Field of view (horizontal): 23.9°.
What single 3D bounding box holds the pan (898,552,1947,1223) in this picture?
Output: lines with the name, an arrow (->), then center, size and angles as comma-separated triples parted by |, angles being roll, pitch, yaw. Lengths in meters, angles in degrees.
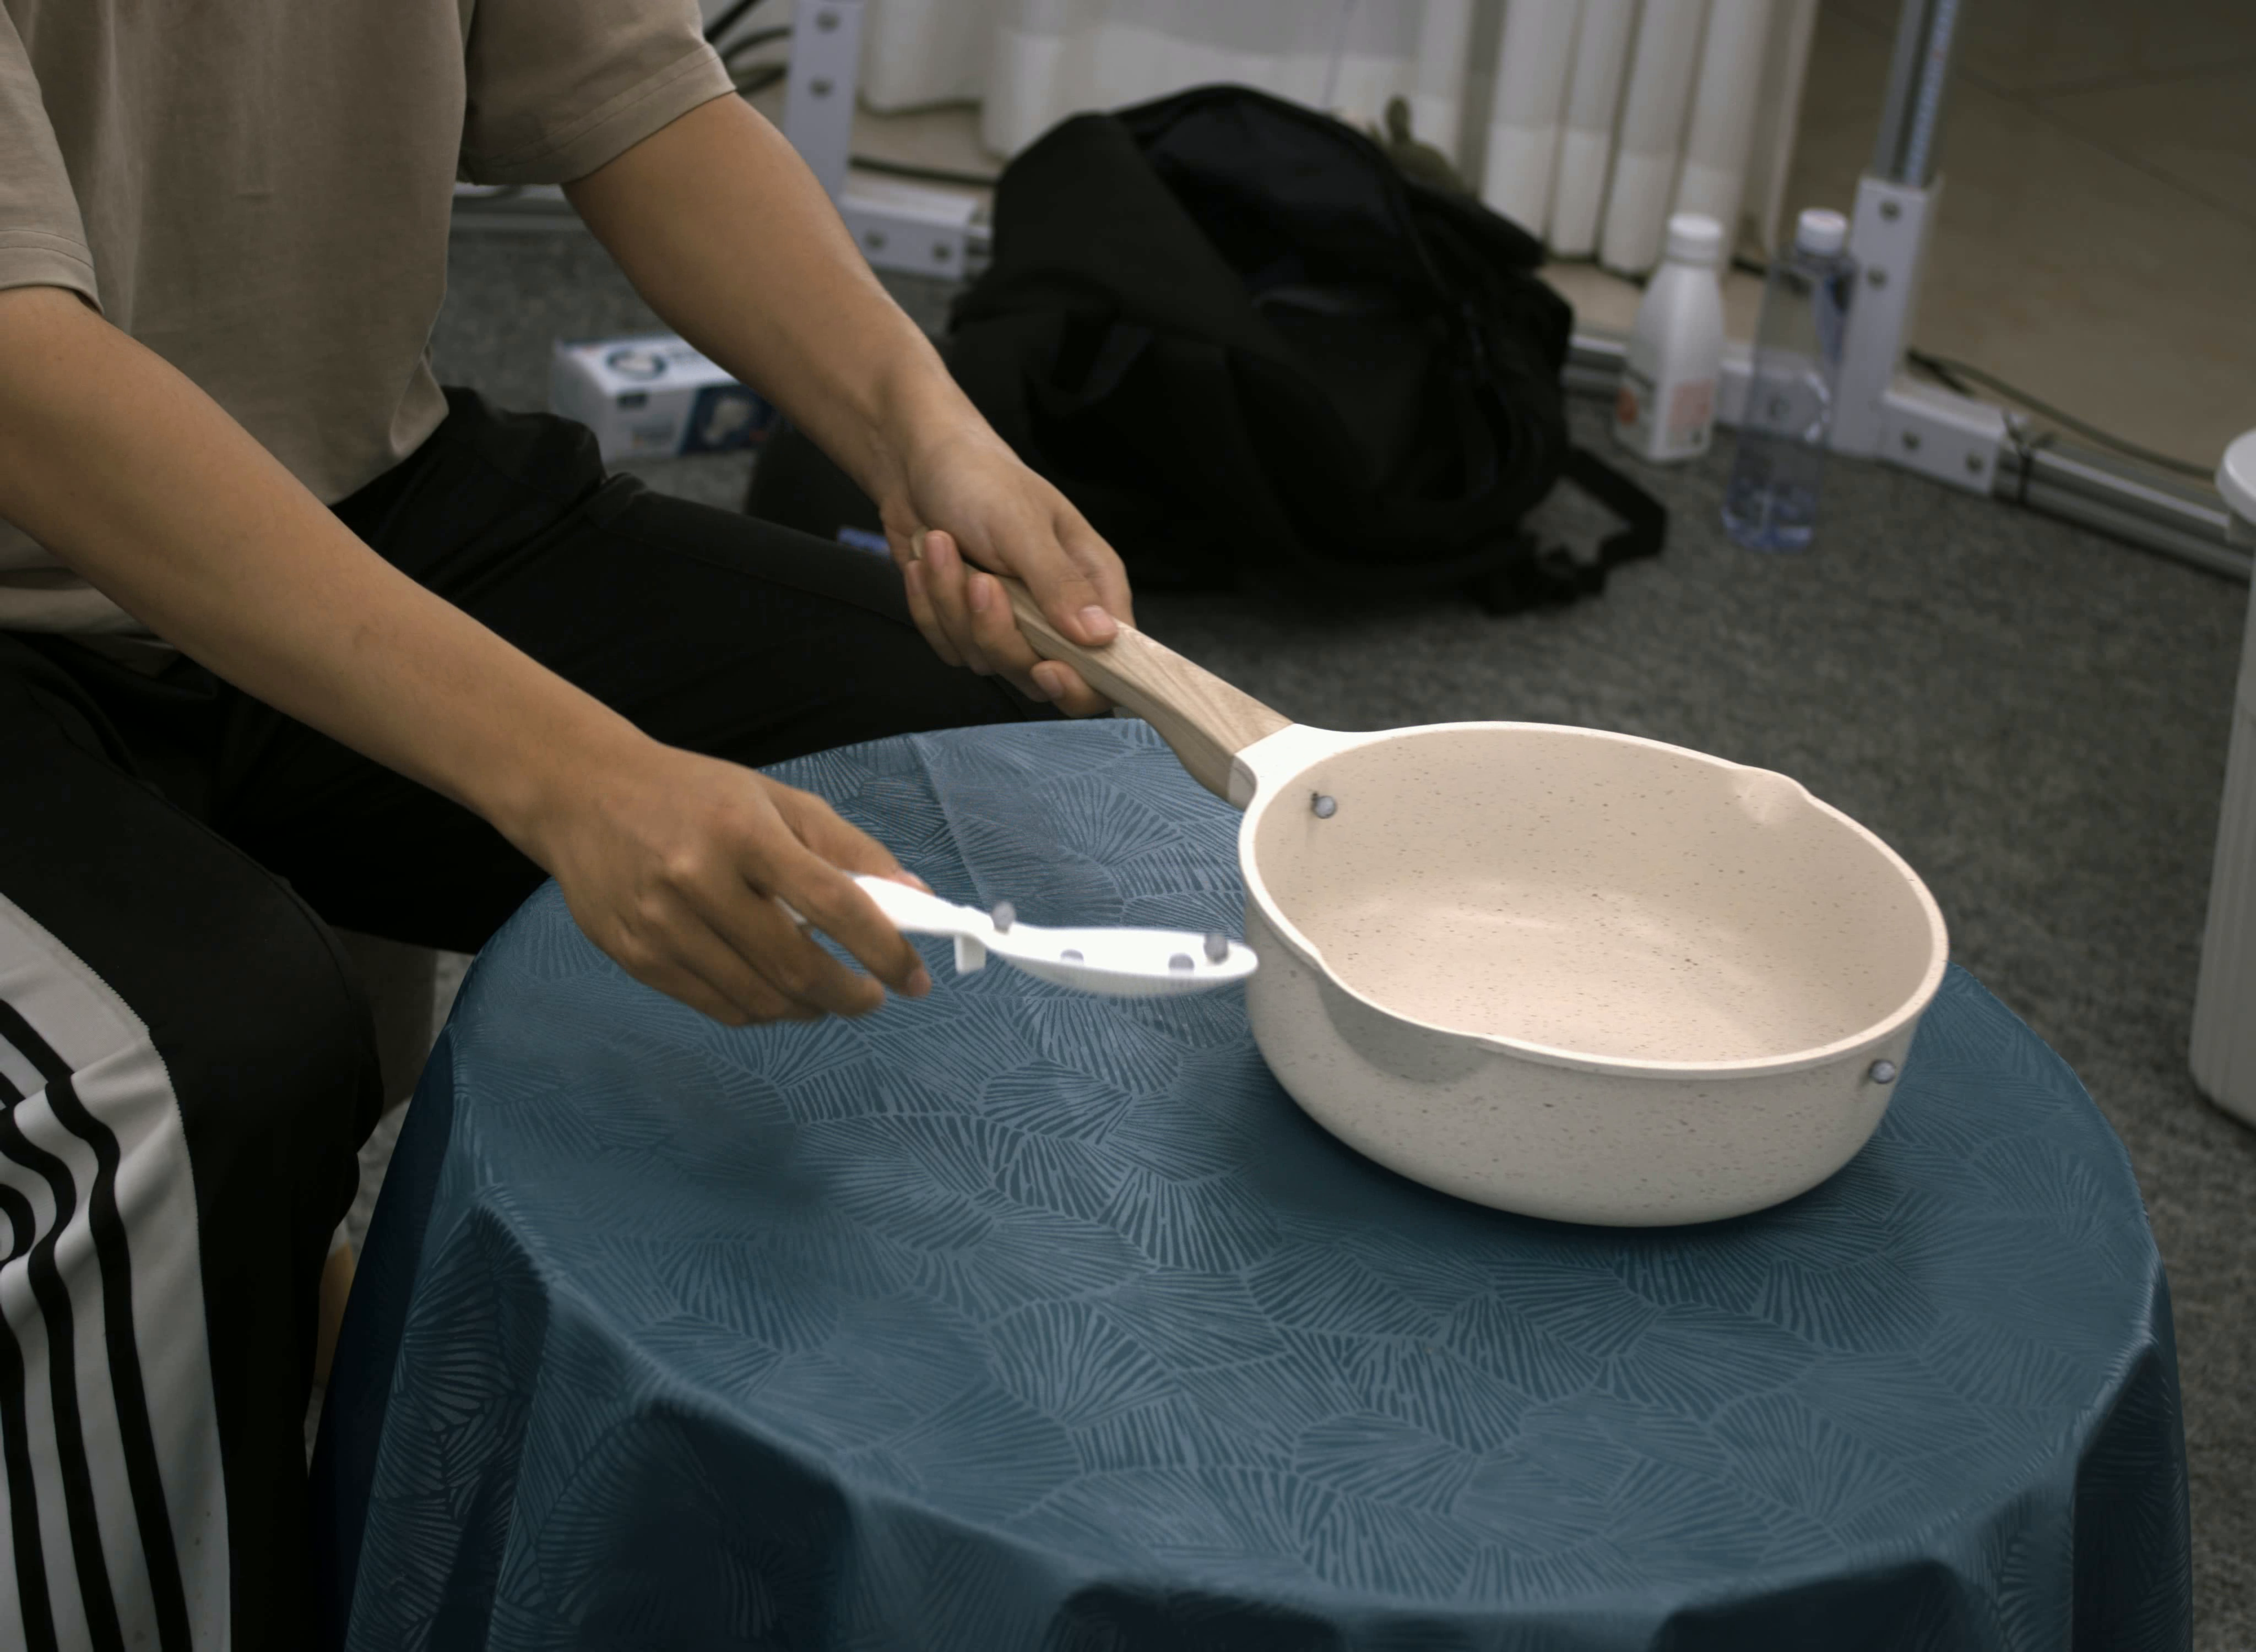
pan -> 0.087, 0.016, 1.933 | 0.437, 0.101, 0.262 | 24, 34, 31

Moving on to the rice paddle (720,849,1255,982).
rice paddle -> -0.046, 0.030, 1.723 | 0.206, 0.029, 0.068 | 6, 11, 38
